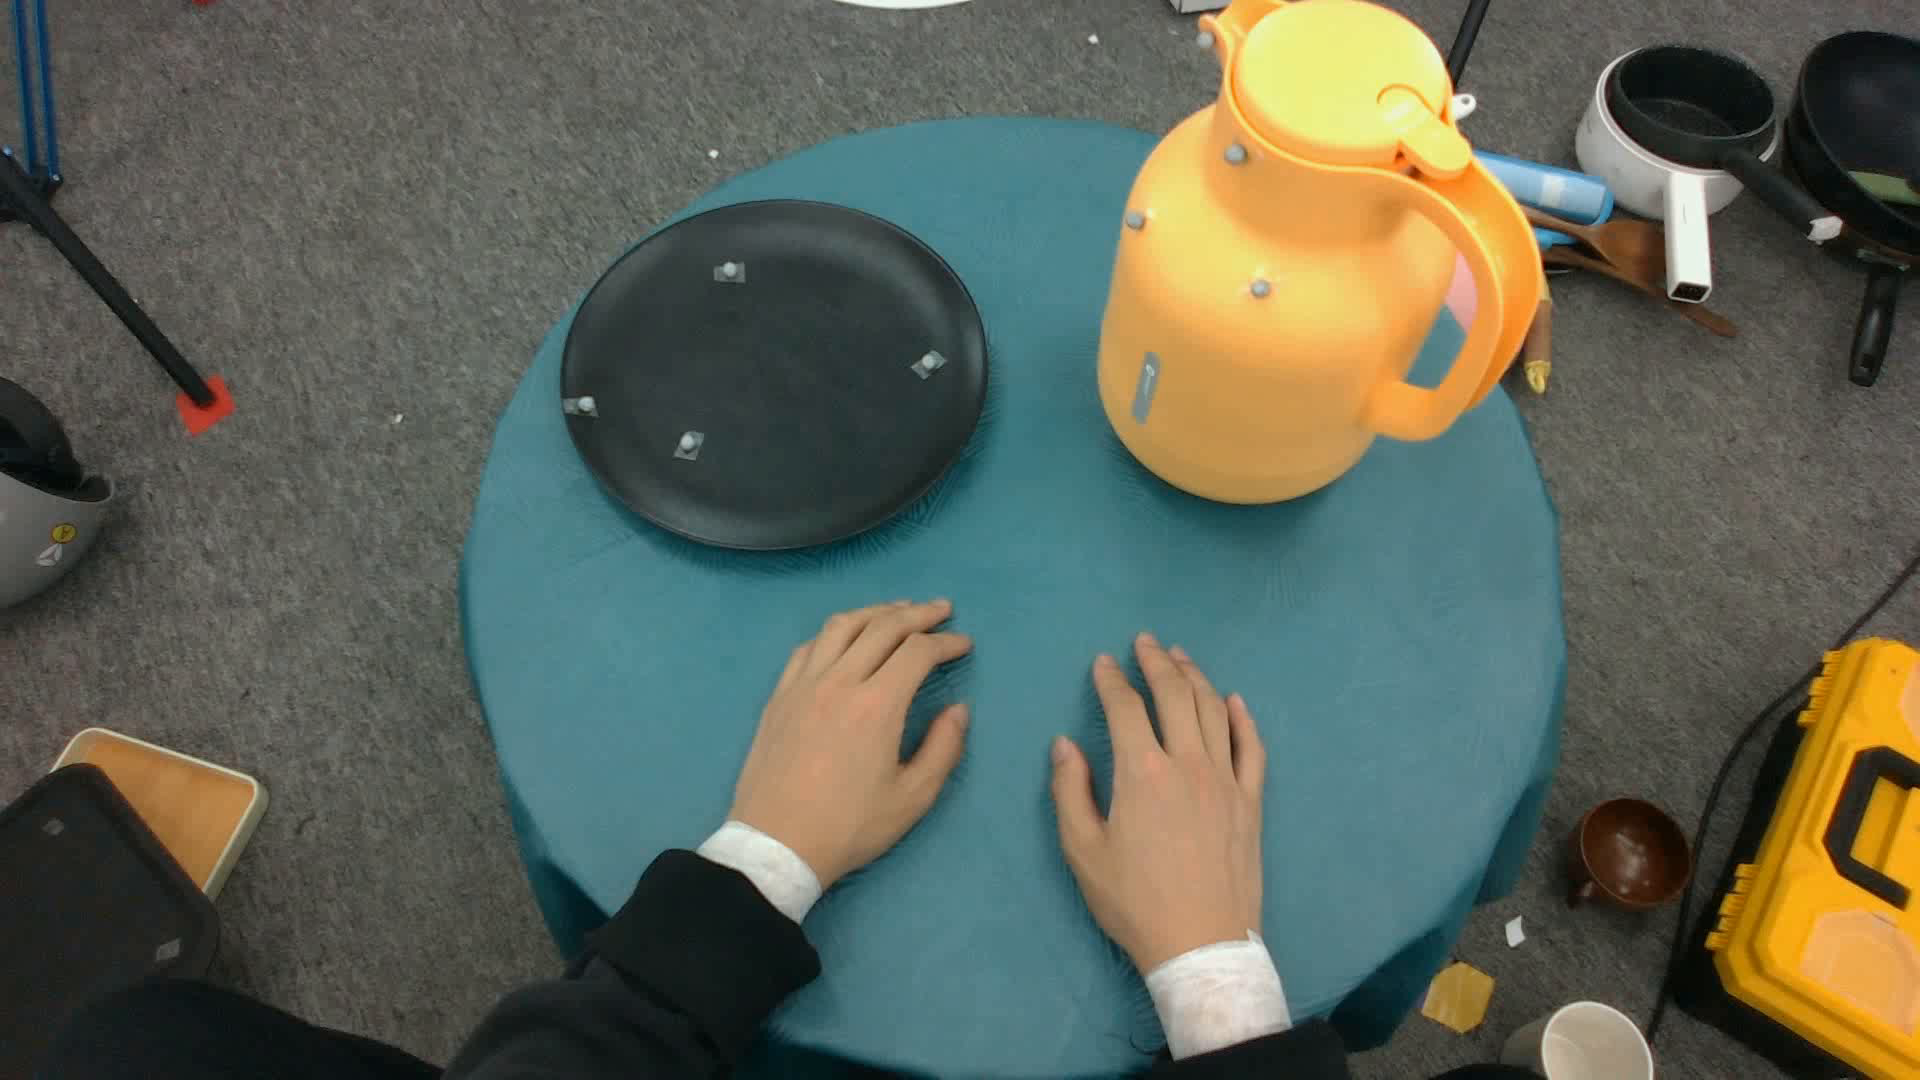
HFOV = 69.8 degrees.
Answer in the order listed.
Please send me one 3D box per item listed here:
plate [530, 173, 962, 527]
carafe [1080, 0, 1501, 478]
[{"bbox_3d":[-0.121,-0.111,0.789,0.244,0.023,0.245,1,62,-1],"label":"plate"},{"bbox_3d":[0.157,-0.139,0.680,0.164,0.259,0.202,-35,67,-15],"label":"carafe"}]
